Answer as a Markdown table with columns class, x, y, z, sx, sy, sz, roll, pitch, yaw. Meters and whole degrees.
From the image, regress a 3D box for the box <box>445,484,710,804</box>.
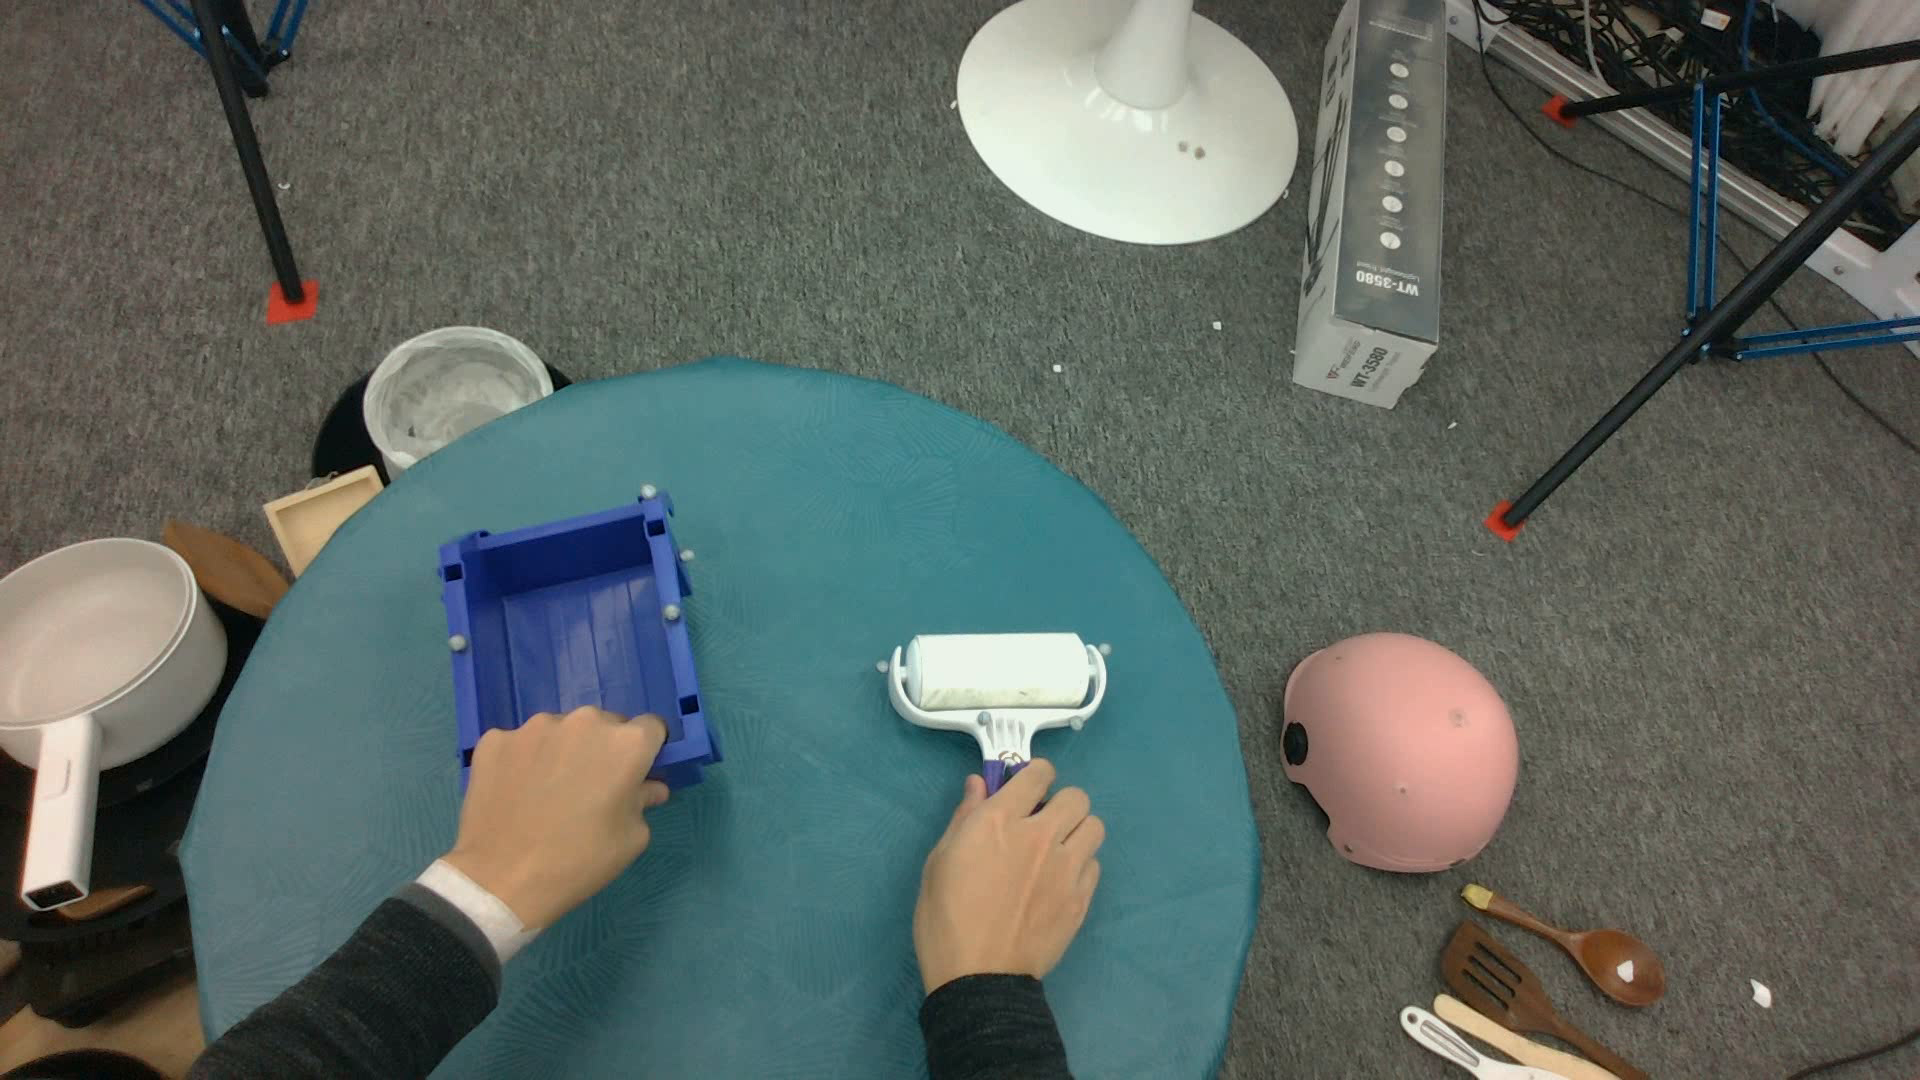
| class | x | y | z | sx | sy | sz | roll | pitch | yaw |
| --- | --- | --- | --- | --- | --- | --- | --- | --- | --- |
| box | -0.215 | 0.053 | 0.766 | 0.124 | 0.081 | 0.180 | -10 | 65 | -7 |

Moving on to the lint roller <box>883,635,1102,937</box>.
| class | x | y | z | sx | sy | sz | roll | pitch | yaw |
| --- | --- | --- | --- | --- | --- | --- | --- | --- | --- |
| lint roller | 0.025 | 0.134 | 0.792 | 0.133 | 0.050 | 0.181 | 2 | 52 | -11 |
